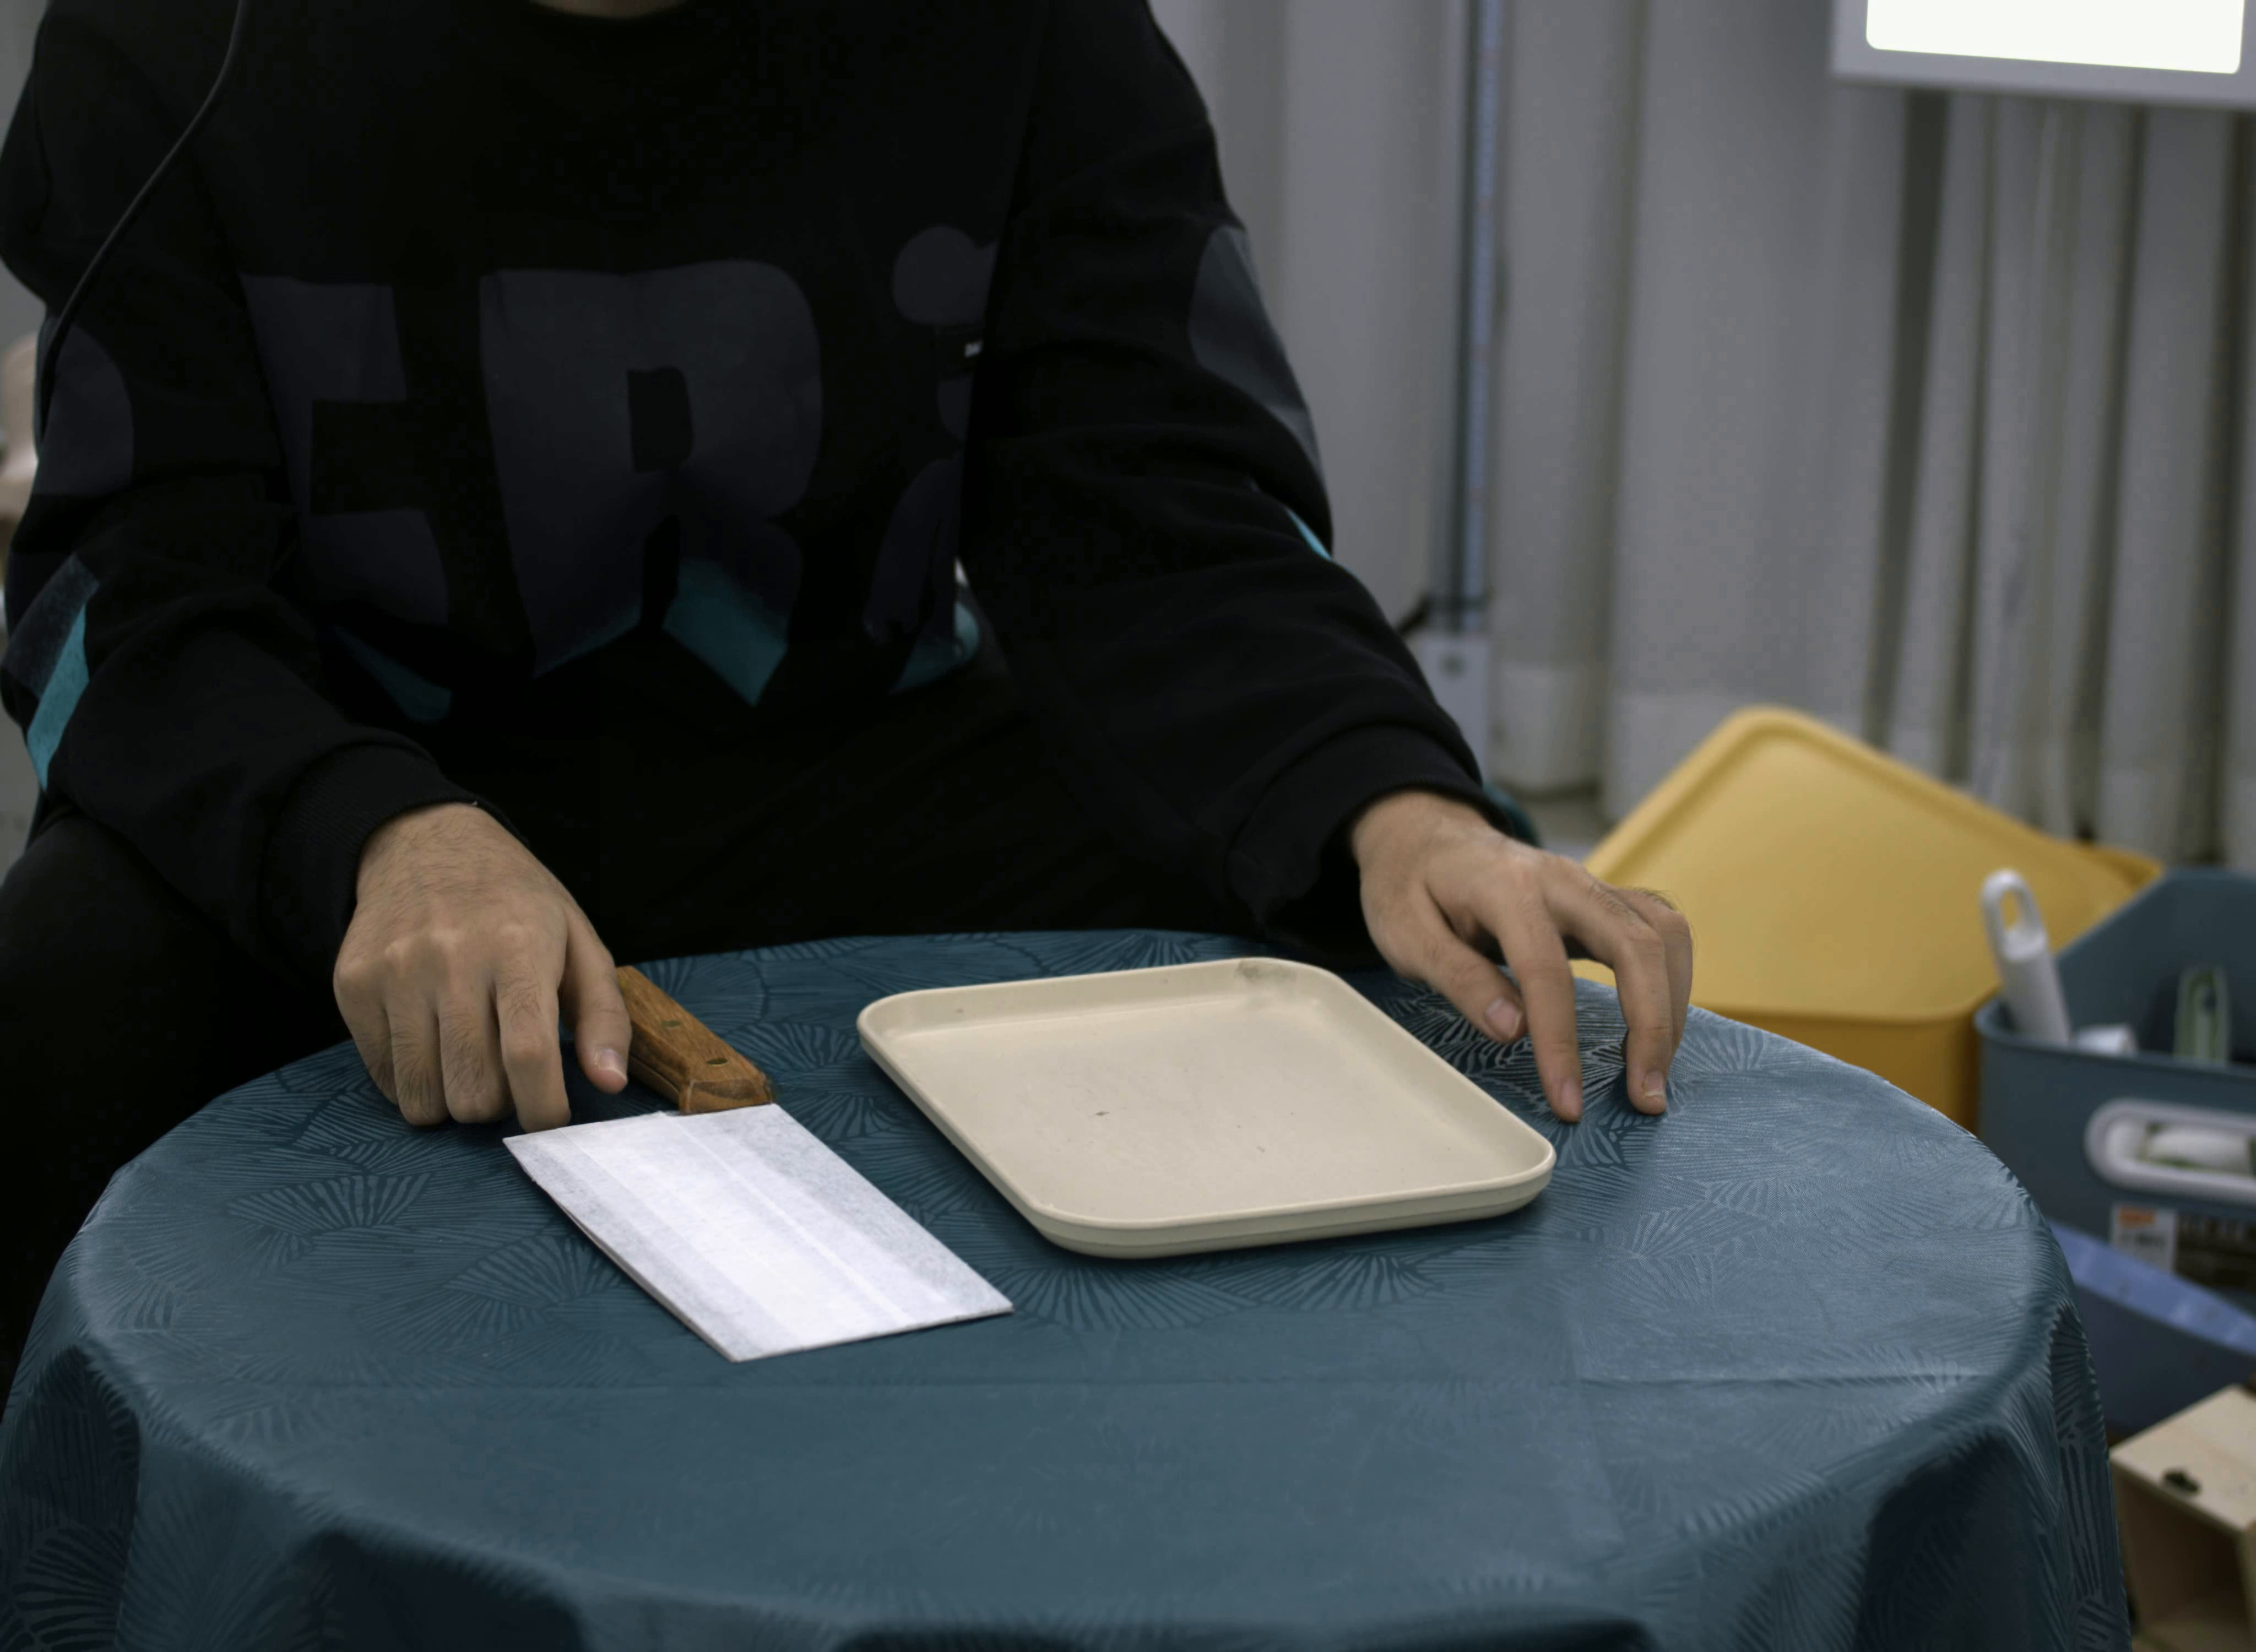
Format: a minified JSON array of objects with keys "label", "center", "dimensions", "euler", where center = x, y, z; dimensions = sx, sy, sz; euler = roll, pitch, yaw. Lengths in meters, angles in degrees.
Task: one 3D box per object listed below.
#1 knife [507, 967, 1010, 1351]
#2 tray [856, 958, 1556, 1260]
[{"label":"knife","center":[-0.137,0.102,1.627],"dimensions":[0.093,0.021,0.302],"euler":[-9,20,-25]},{"label":"tray","center":[0.021,0.088,1.674],"dimensions":[0.171,0.017,0.237],"euler":[-6,17,-18]}]
